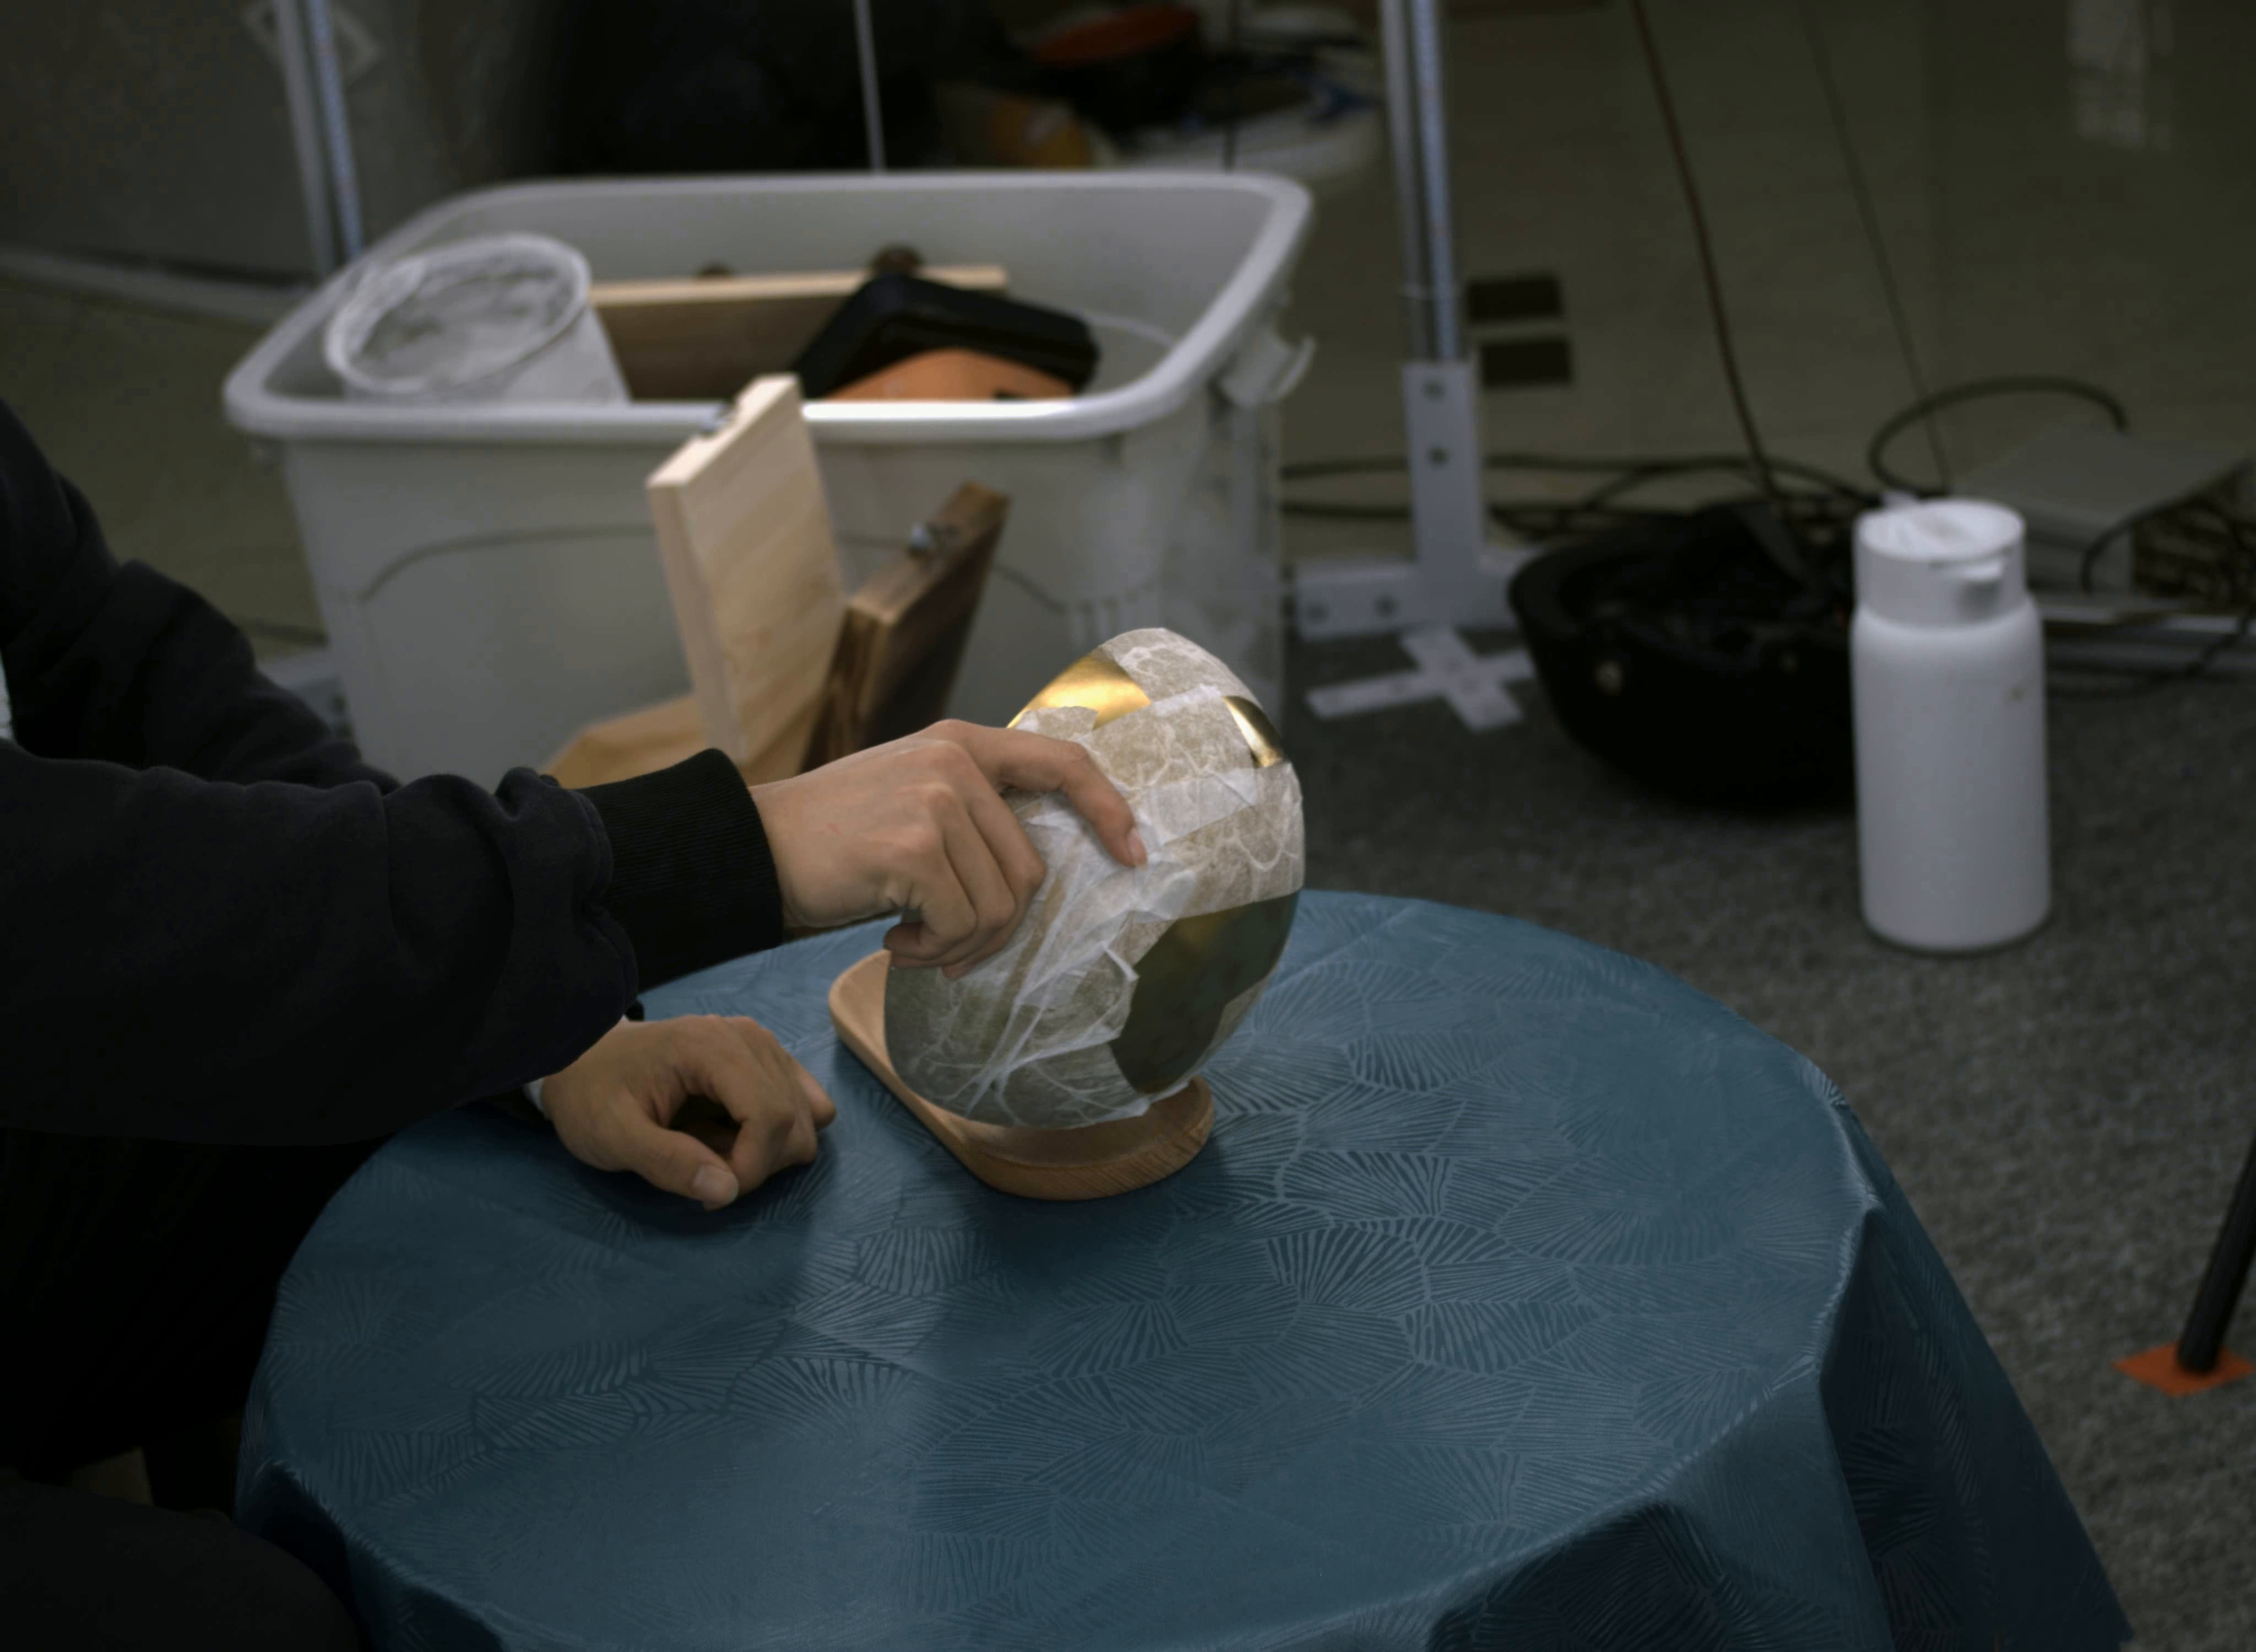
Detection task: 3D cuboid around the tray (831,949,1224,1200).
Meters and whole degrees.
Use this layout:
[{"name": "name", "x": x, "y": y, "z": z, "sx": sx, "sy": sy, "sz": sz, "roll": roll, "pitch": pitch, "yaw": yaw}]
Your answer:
[{"name": "tray", "x": -0.041, "y": 0.094, "z": 2.239, "sx": 0.101, "sy": 0.020, "sz": 0.228, "roll": -17, "pitch": 28, "yaw": -21}]

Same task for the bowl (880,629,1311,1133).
[{"name": "bowl", "x": 0.004, "y": 0.039, "z": 2.136, "sx": 0.094, "sy": 0.219, "sz": 0.212, "roll": 31, "pitch": 39, "yaw": 23}]
